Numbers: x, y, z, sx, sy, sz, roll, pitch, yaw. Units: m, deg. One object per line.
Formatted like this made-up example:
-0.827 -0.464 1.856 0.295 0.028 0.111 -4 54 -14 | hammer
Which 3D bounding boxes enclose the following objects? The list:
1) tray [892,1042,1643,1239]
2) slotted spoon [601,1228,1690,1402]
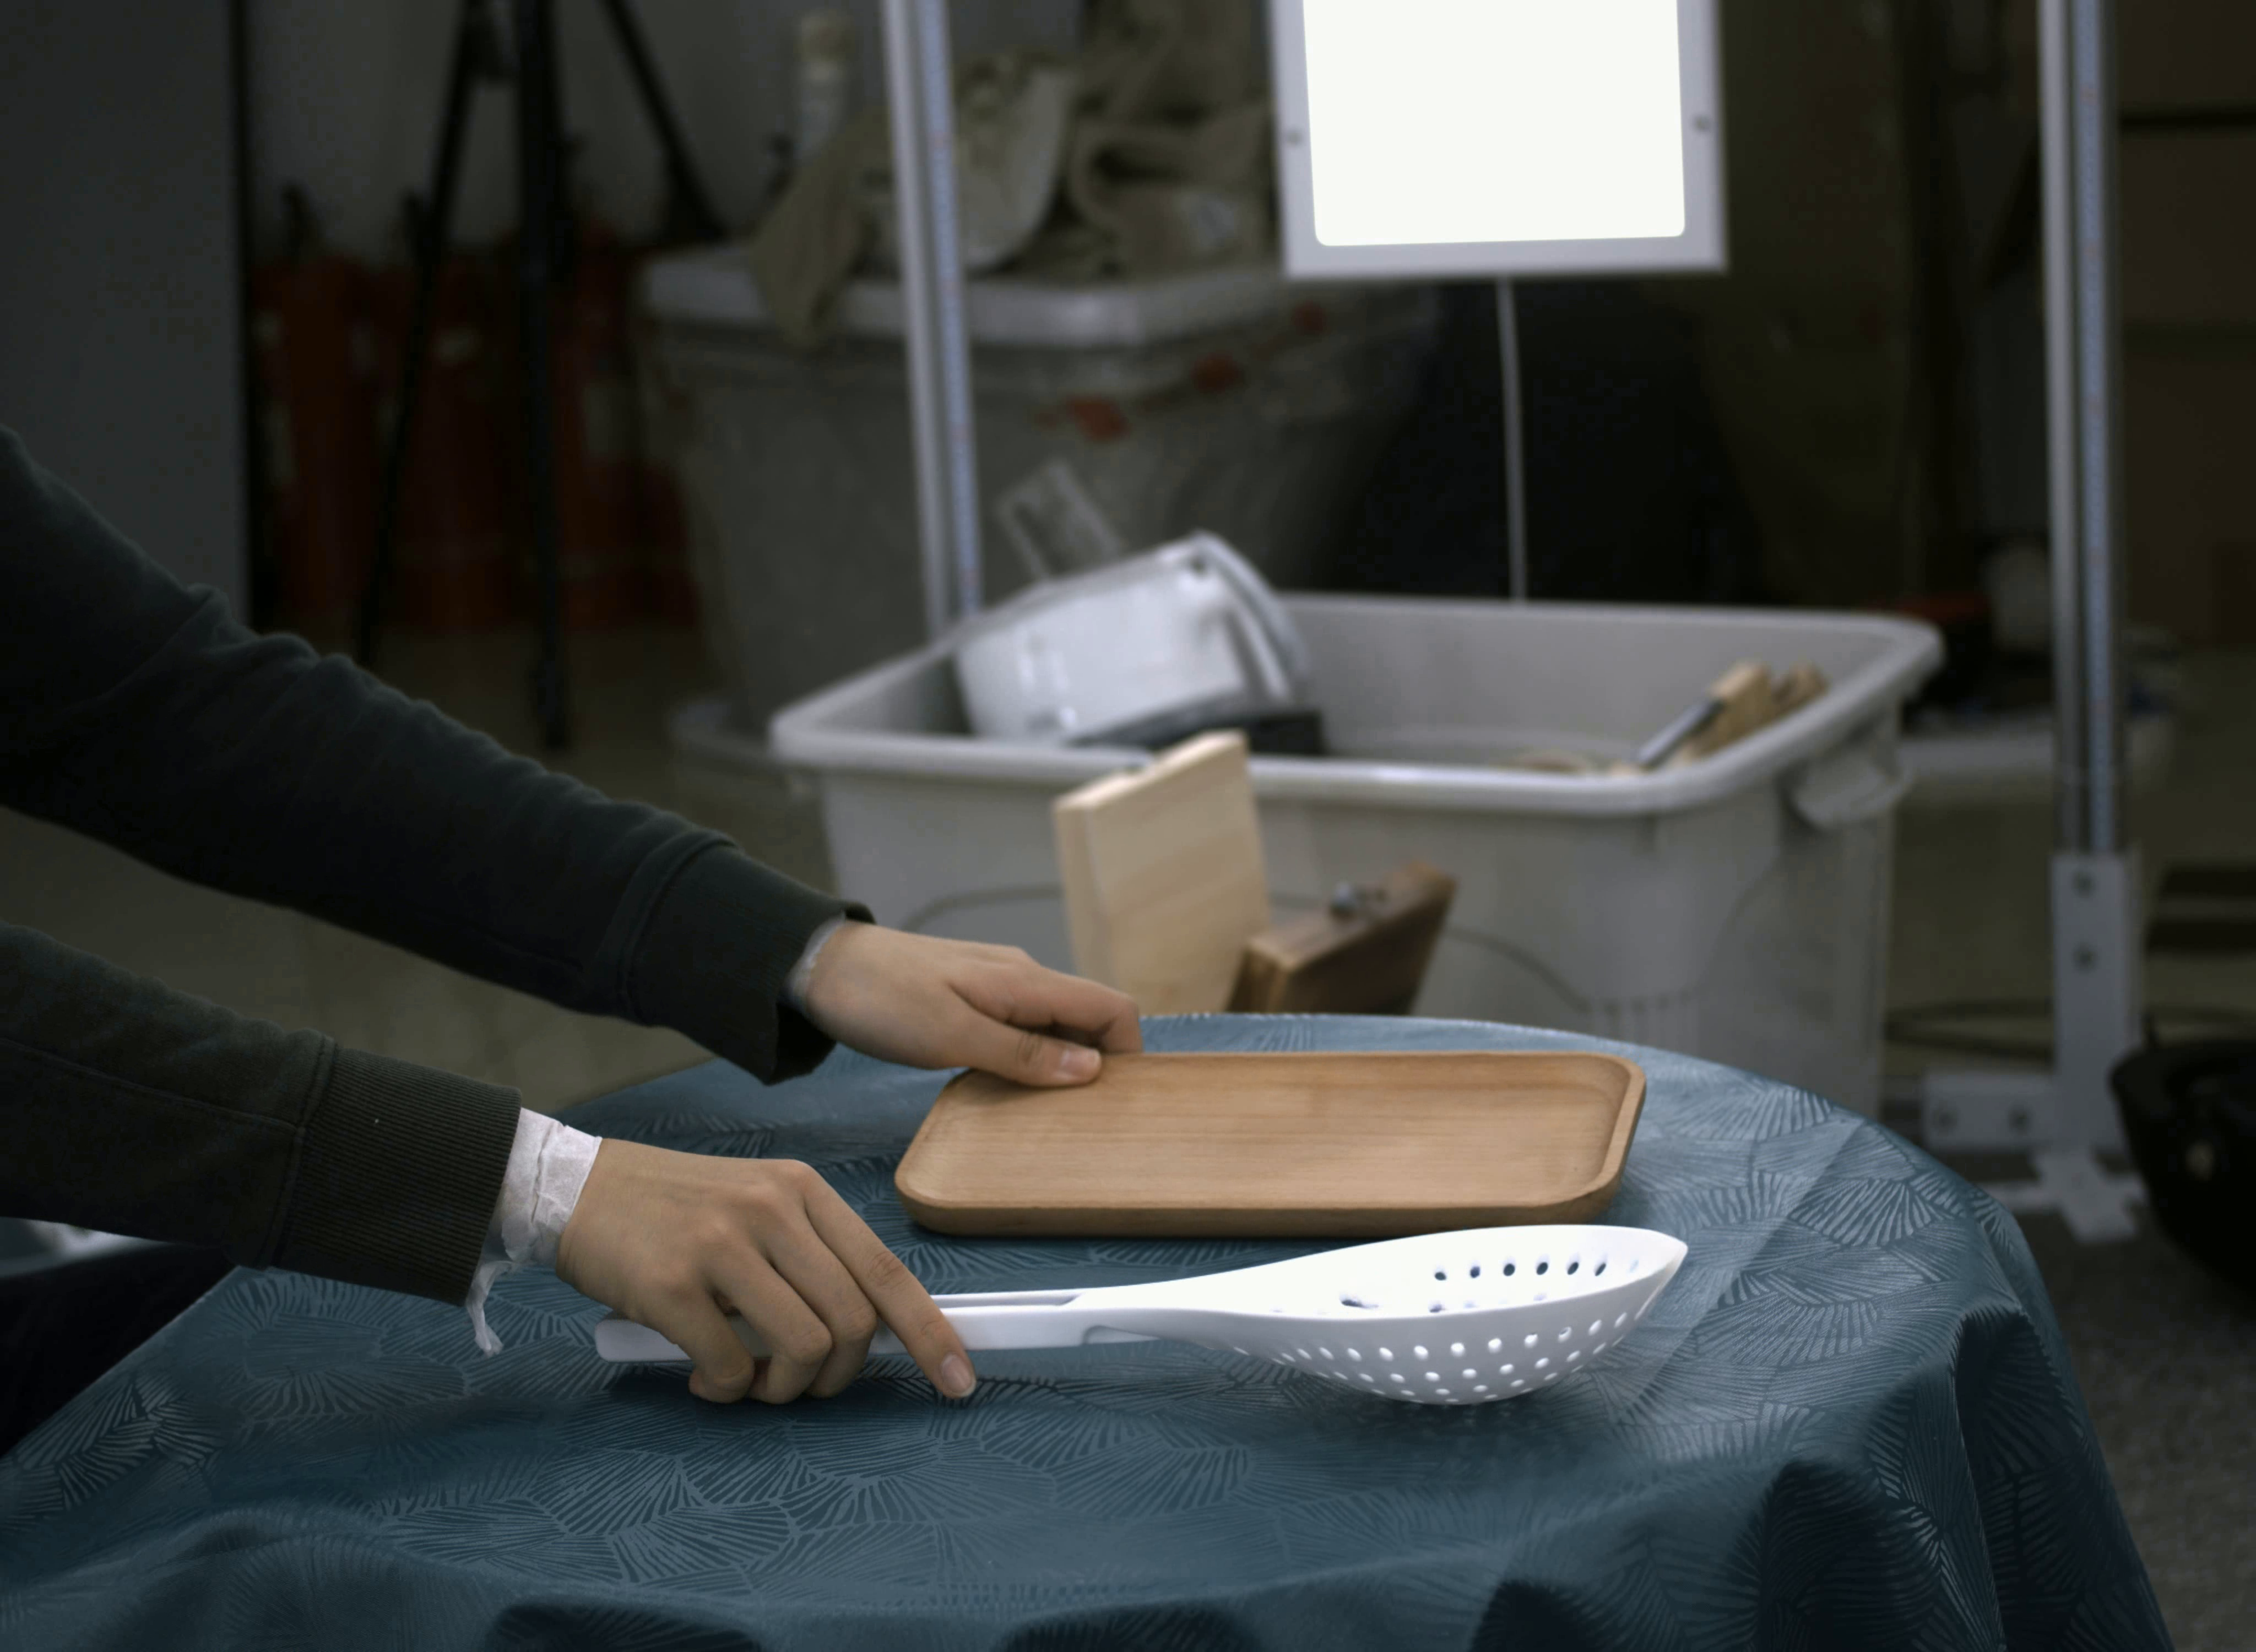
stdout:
0.049 0.108 1.887 0.253 0.023 0.129 -2 20 16 | tray
0.001 0.149 1.699 0.354 0.046 0.134 0 6 19 | slotted spoon
